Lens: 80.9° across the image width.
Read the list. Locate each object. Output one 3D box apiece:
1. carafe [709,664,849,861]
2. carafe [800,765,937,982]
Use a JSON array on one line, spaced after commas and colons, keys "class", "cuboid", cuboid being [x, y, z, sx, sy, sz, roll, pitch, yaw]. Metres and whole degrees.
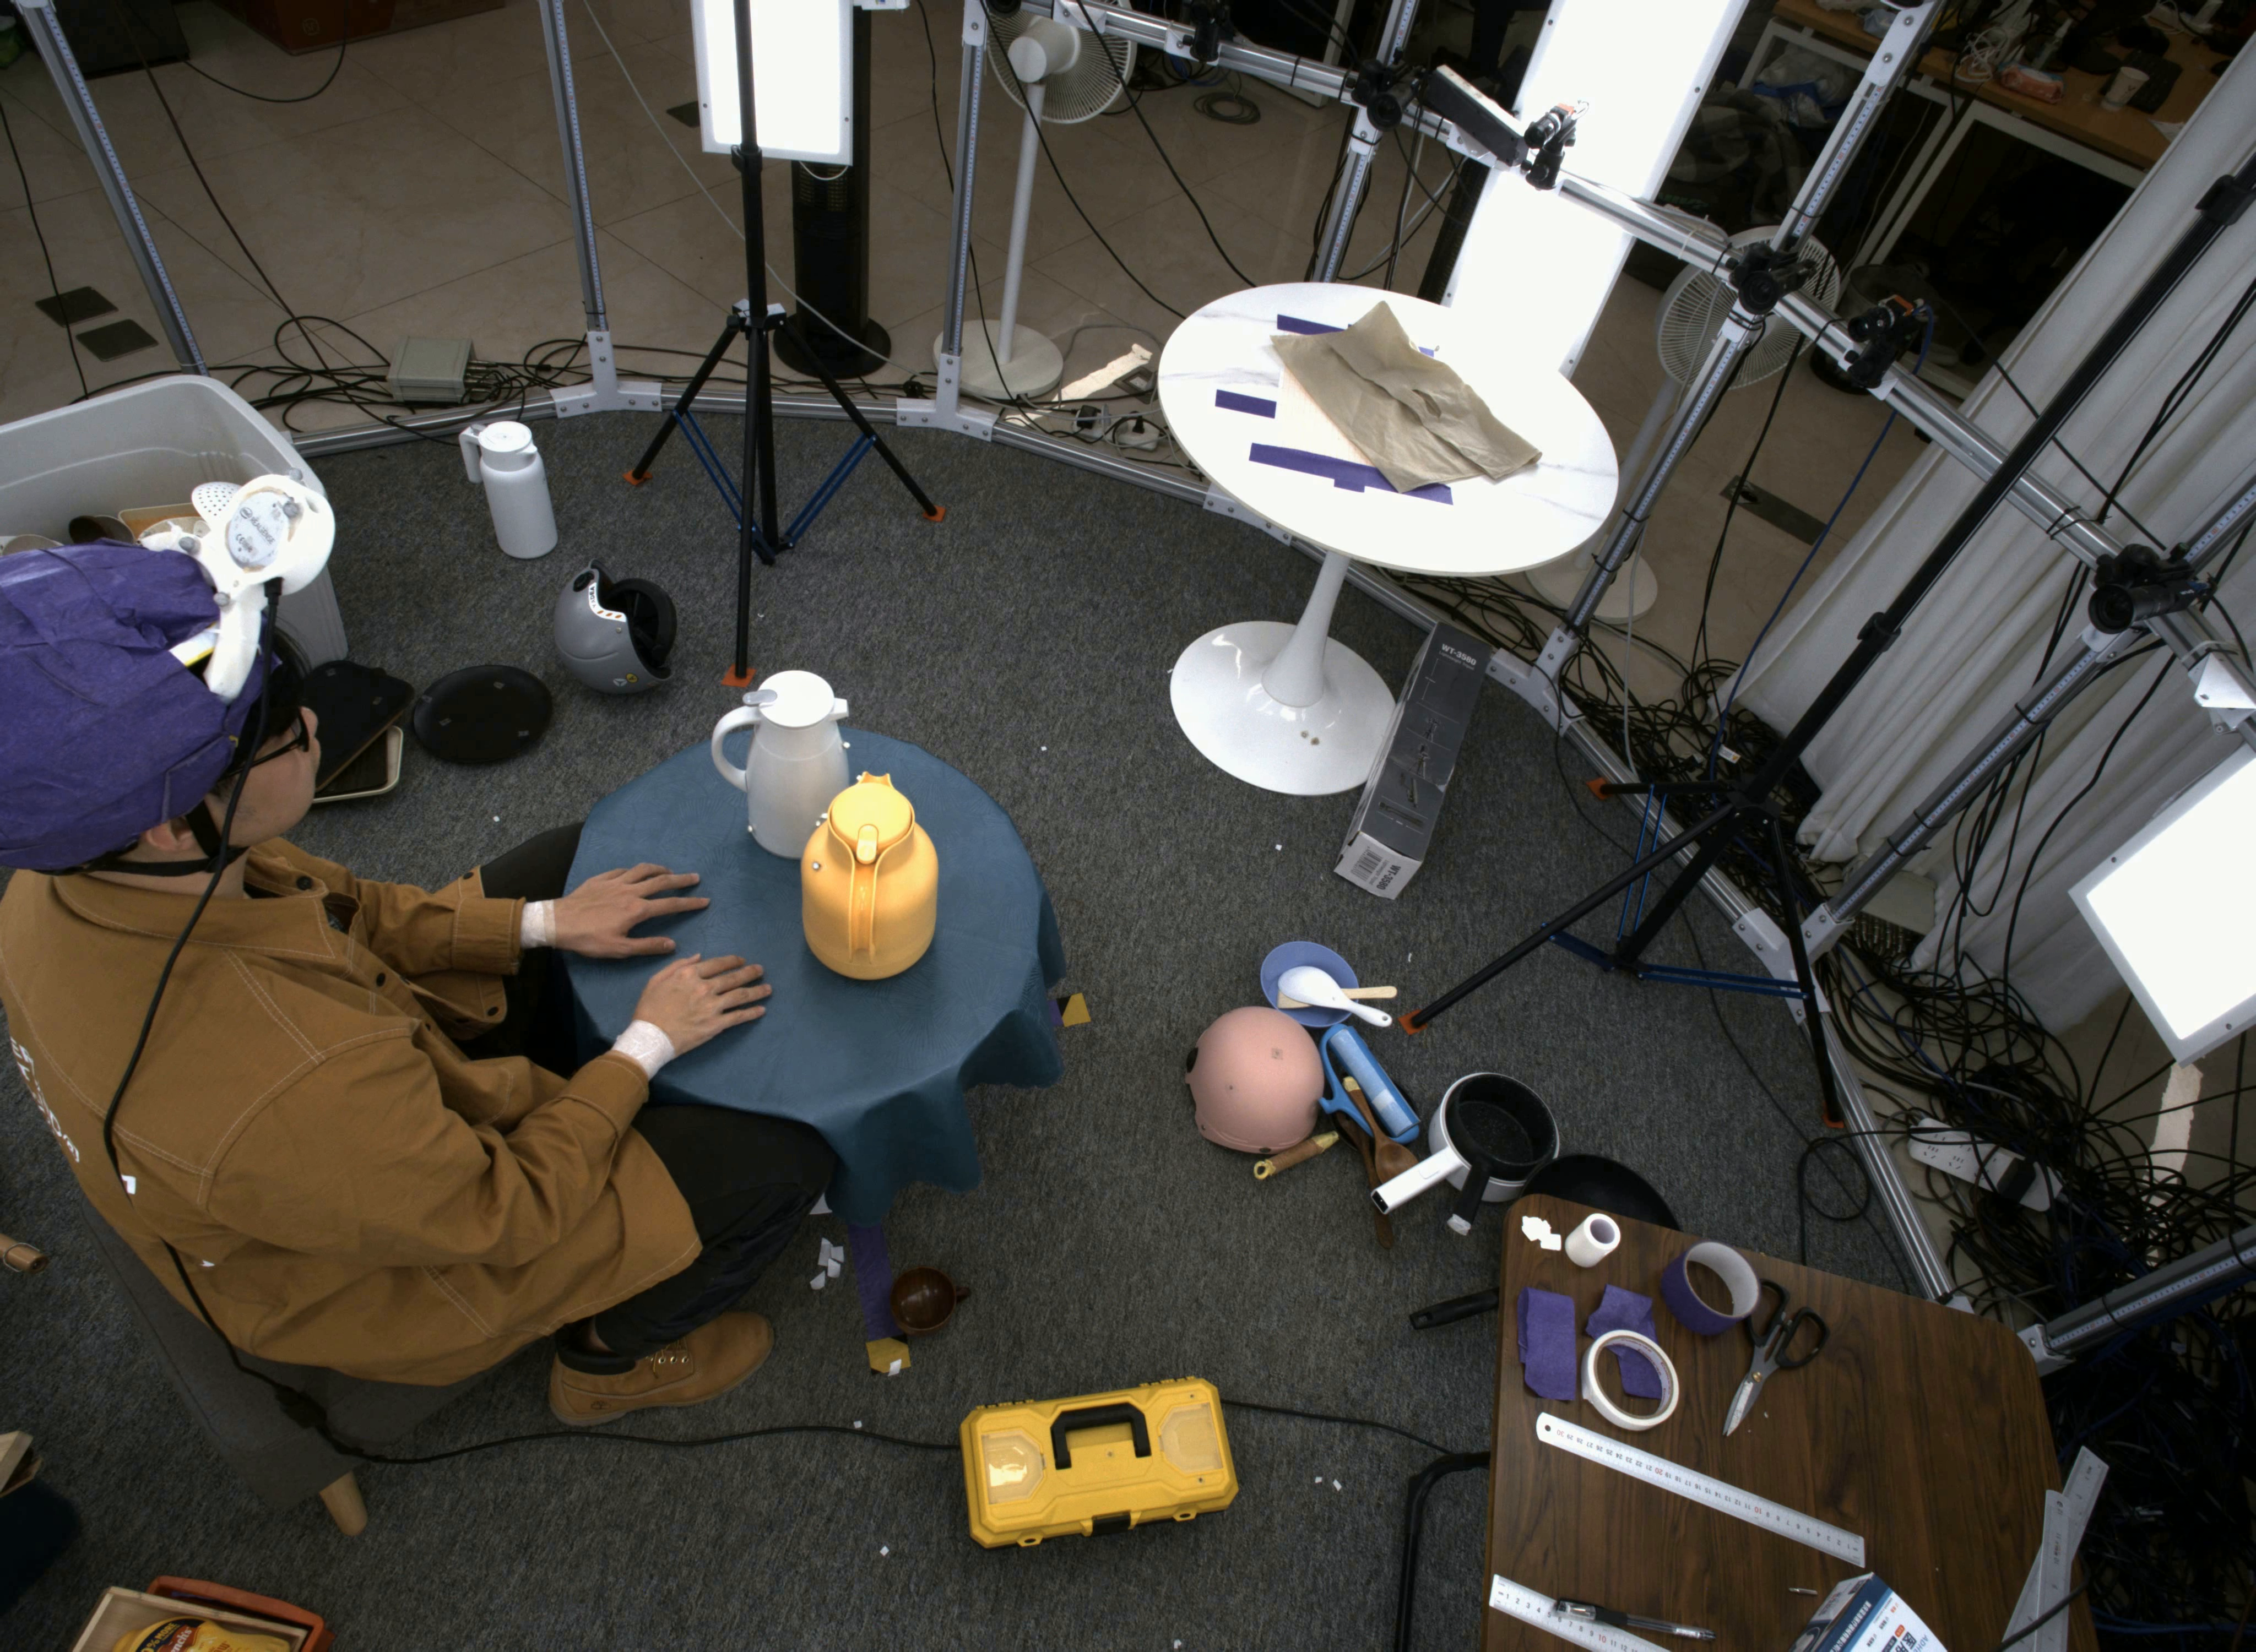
[{"class": "carafe", "cuboid": [-0.435, -0.084, 1.620, 0.168, 0.254, 0.129, -4, 53, -14]}, {"class": "carafe", "cuboid": [-0.309, 0.070, 1.531, 0.163, 0.267, 0.198, 4, 51, -6]}]
